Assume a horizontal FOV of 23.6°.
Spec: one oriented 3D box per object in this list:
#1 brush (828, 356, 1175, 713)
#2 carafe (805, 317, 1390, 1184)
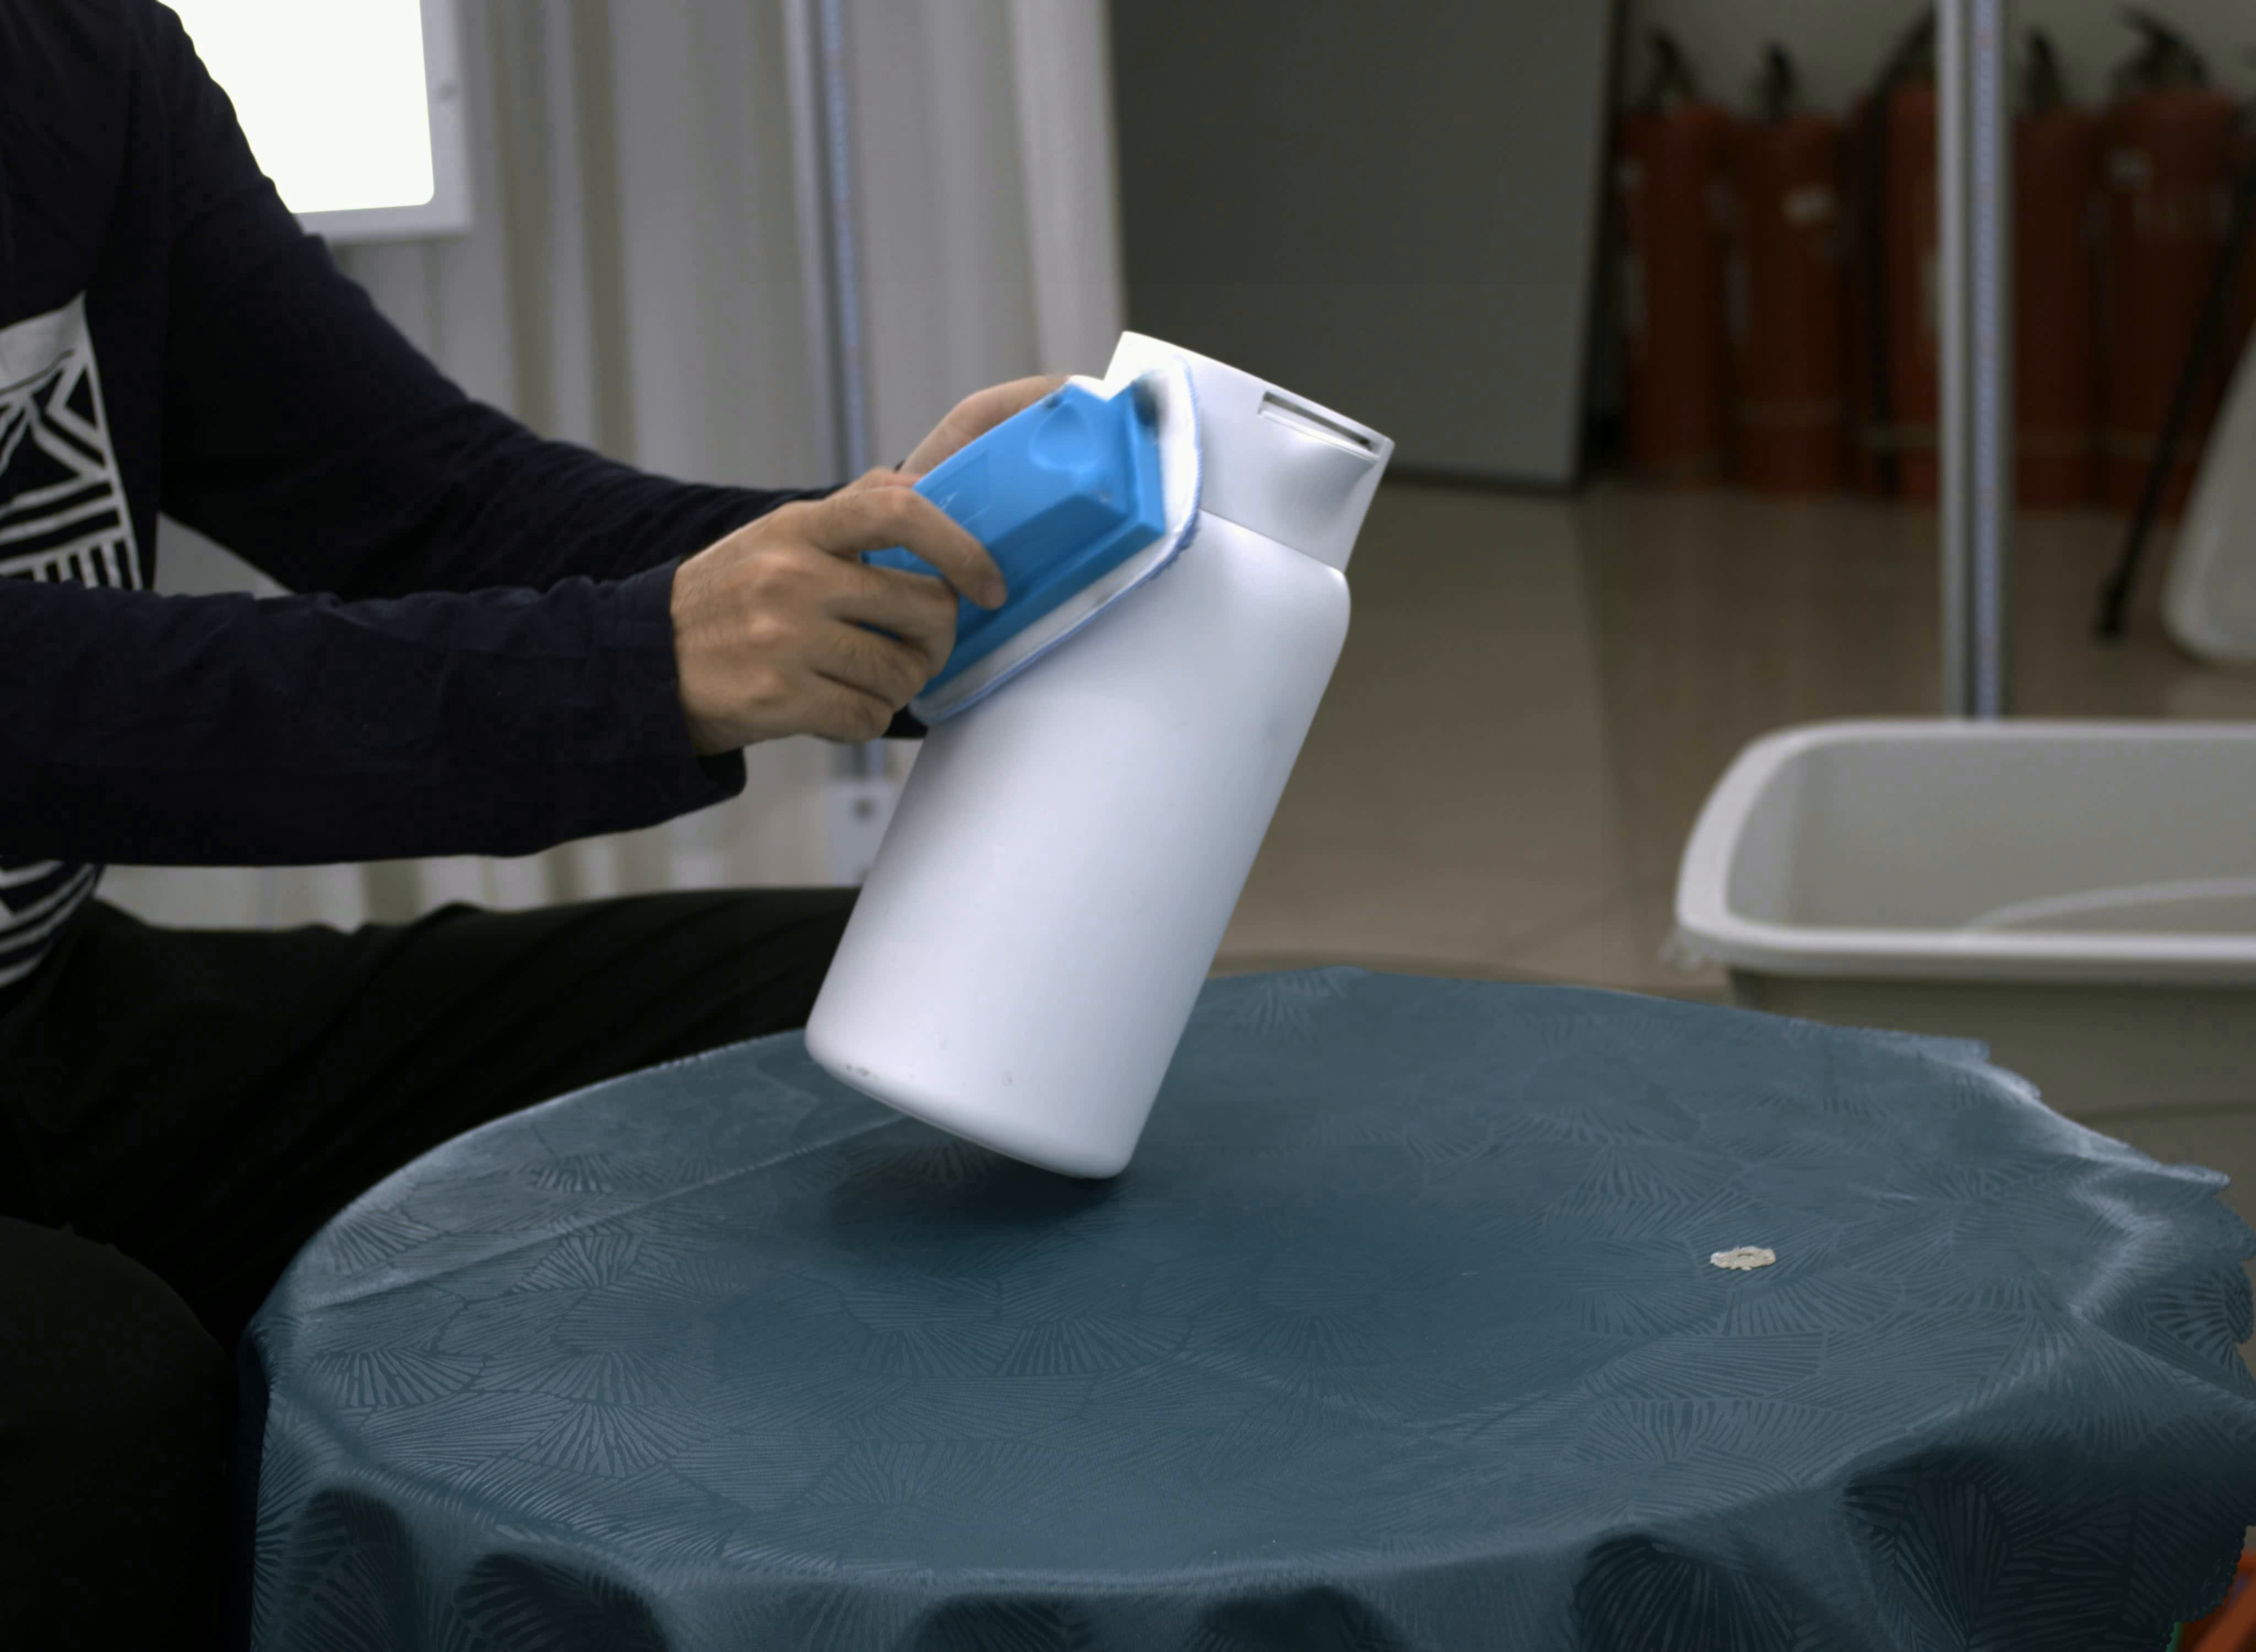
[{"bbox_3d":[-0.046,-0.099,1.725,0.055,0.085,0.145,27,-41,-35],"label":"brush"},{"bbox_3d":[-0.018,-0.029,1.793,0.121,0.271,0.175,19,2,-37],"label":"carafe"}]
